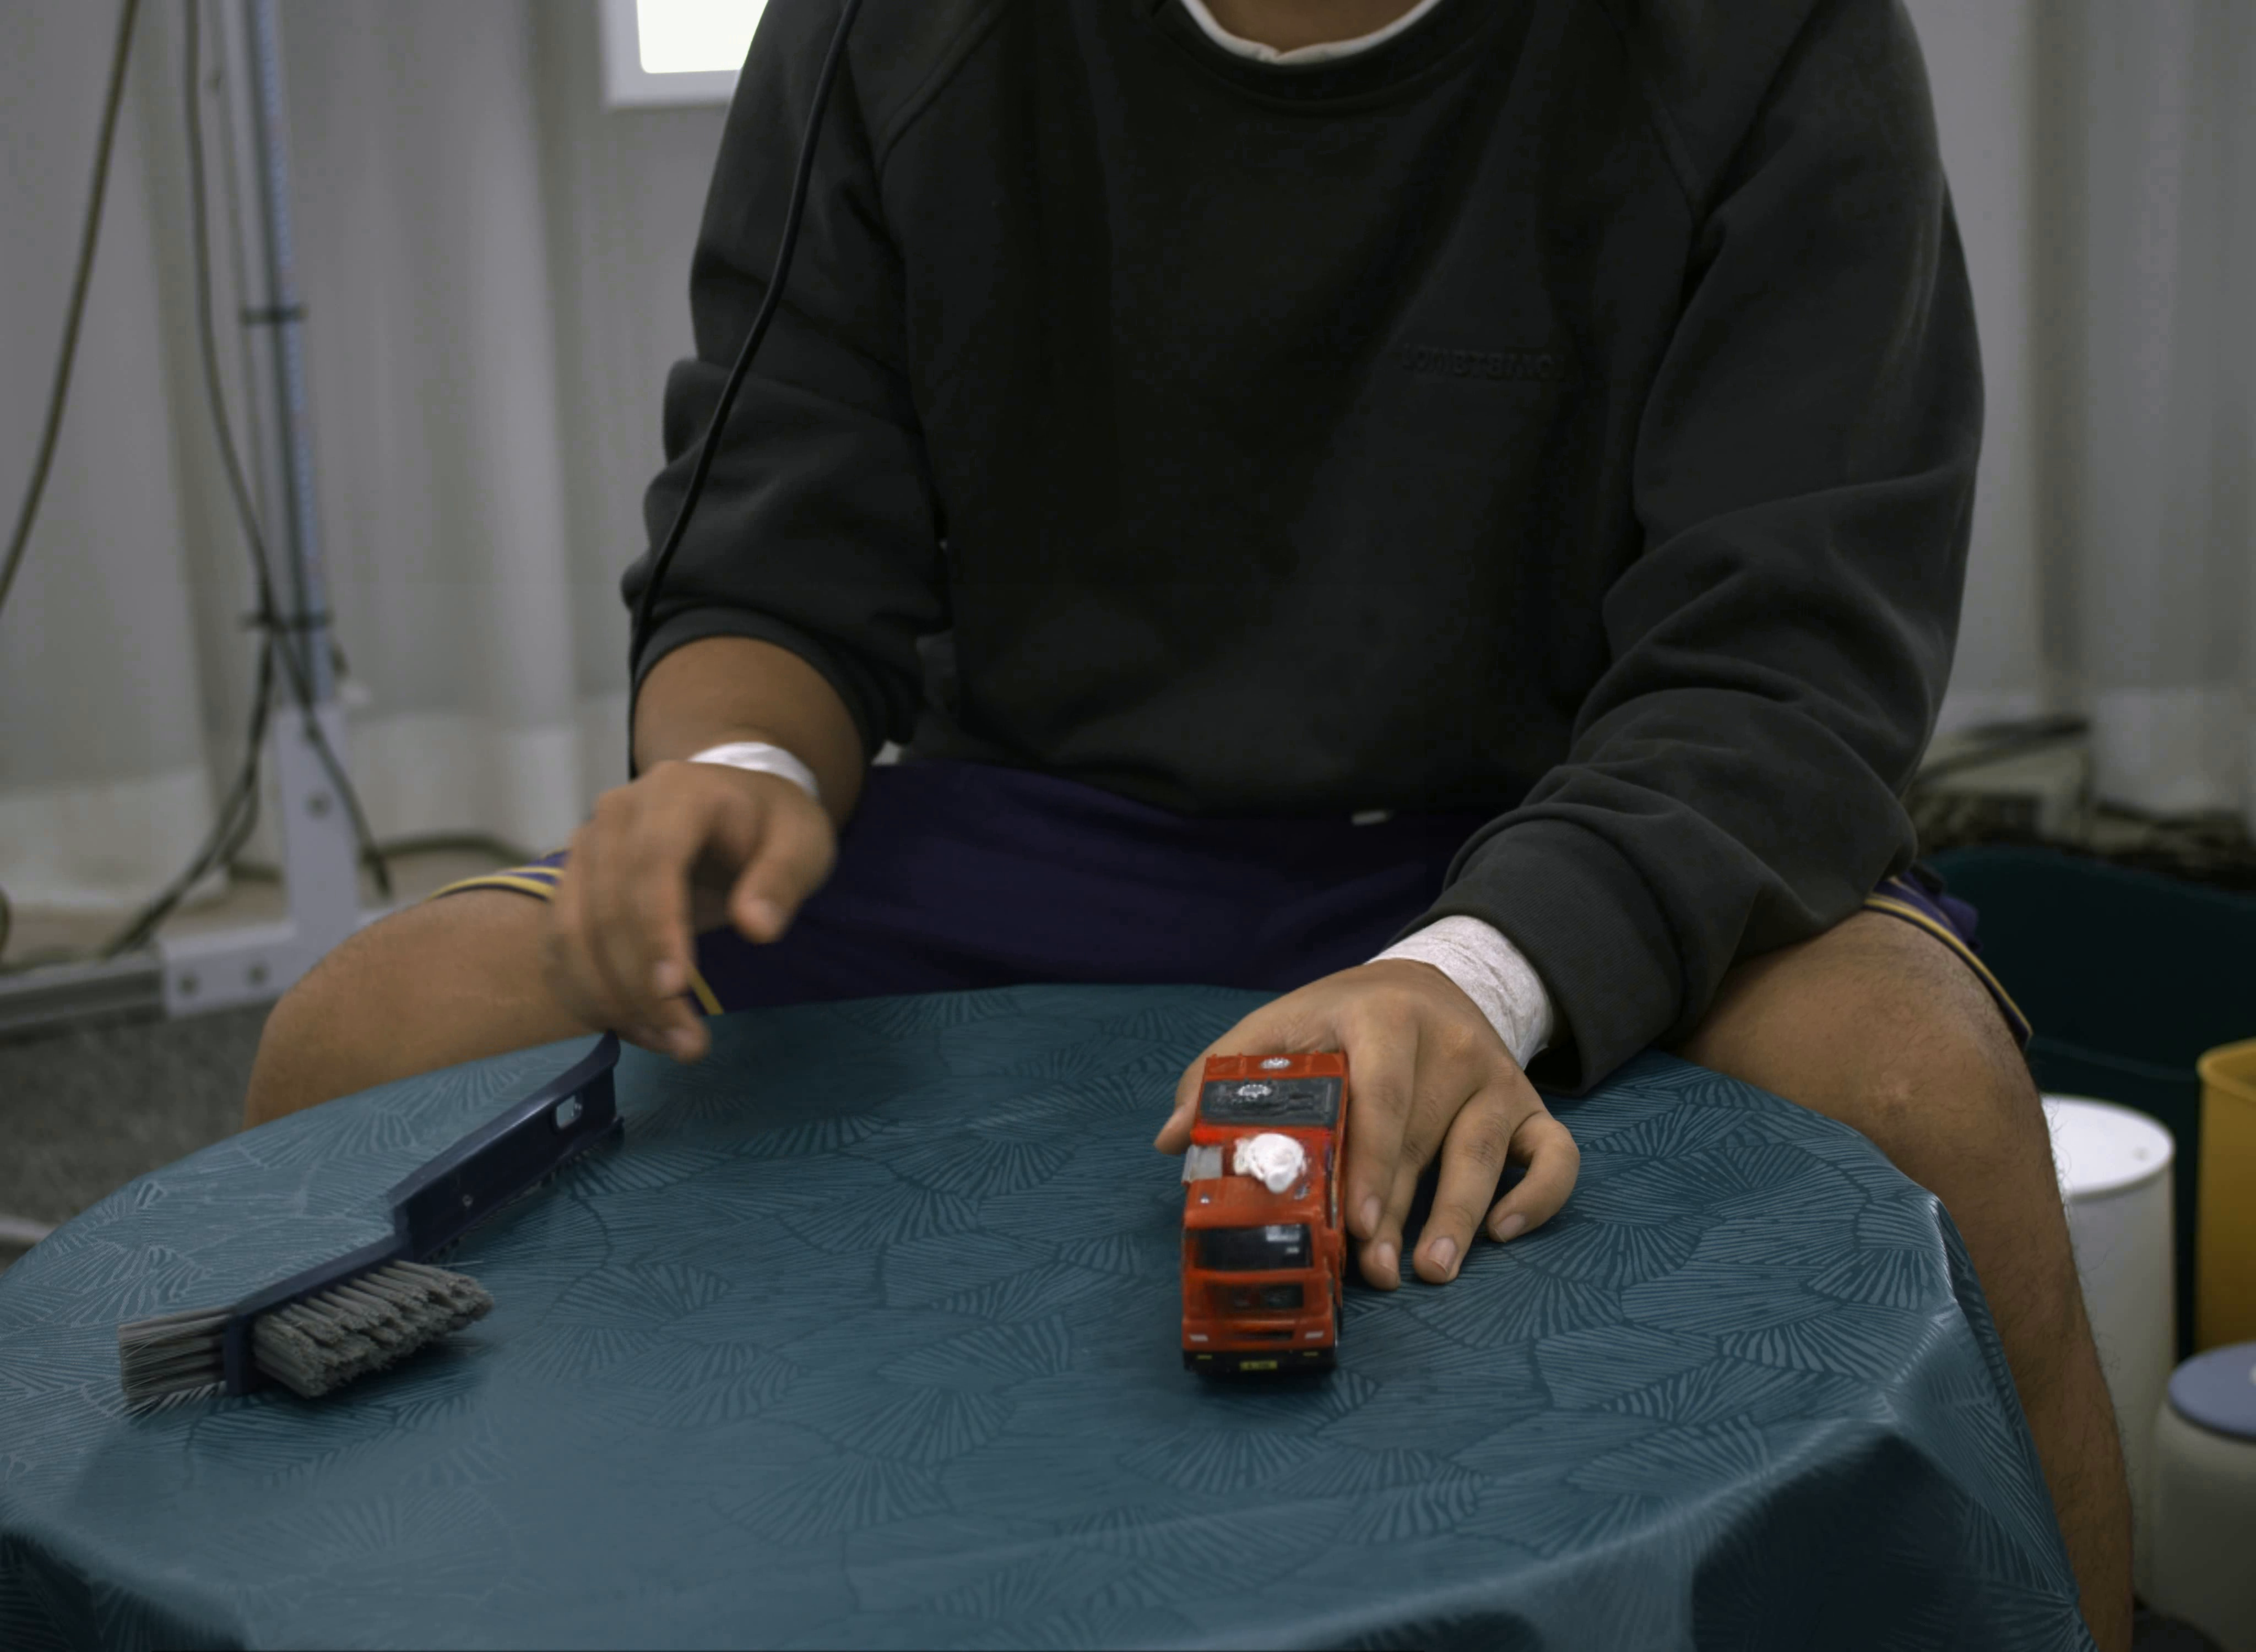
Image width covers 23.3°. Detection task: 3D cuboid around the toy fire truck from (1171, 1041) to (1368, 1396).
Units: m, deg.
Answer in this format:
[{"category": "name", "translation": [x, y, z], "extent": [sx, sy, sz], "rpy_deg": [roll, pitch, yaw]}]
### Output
[{"category": "toy fire truck", "translation": [0.042, 0.112, 1.603], "extent": [0.054, 0.070, 0.169], "rpy_deg": [-2, 14, 4]}]

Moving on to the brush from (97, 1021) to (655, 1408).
[{"category": "brush", "translation": [-0.221, 0.117, 1.688], "extent": [0.095, 0.033, 0.274], "rpy_deg": [-1, 16, 15]}]
